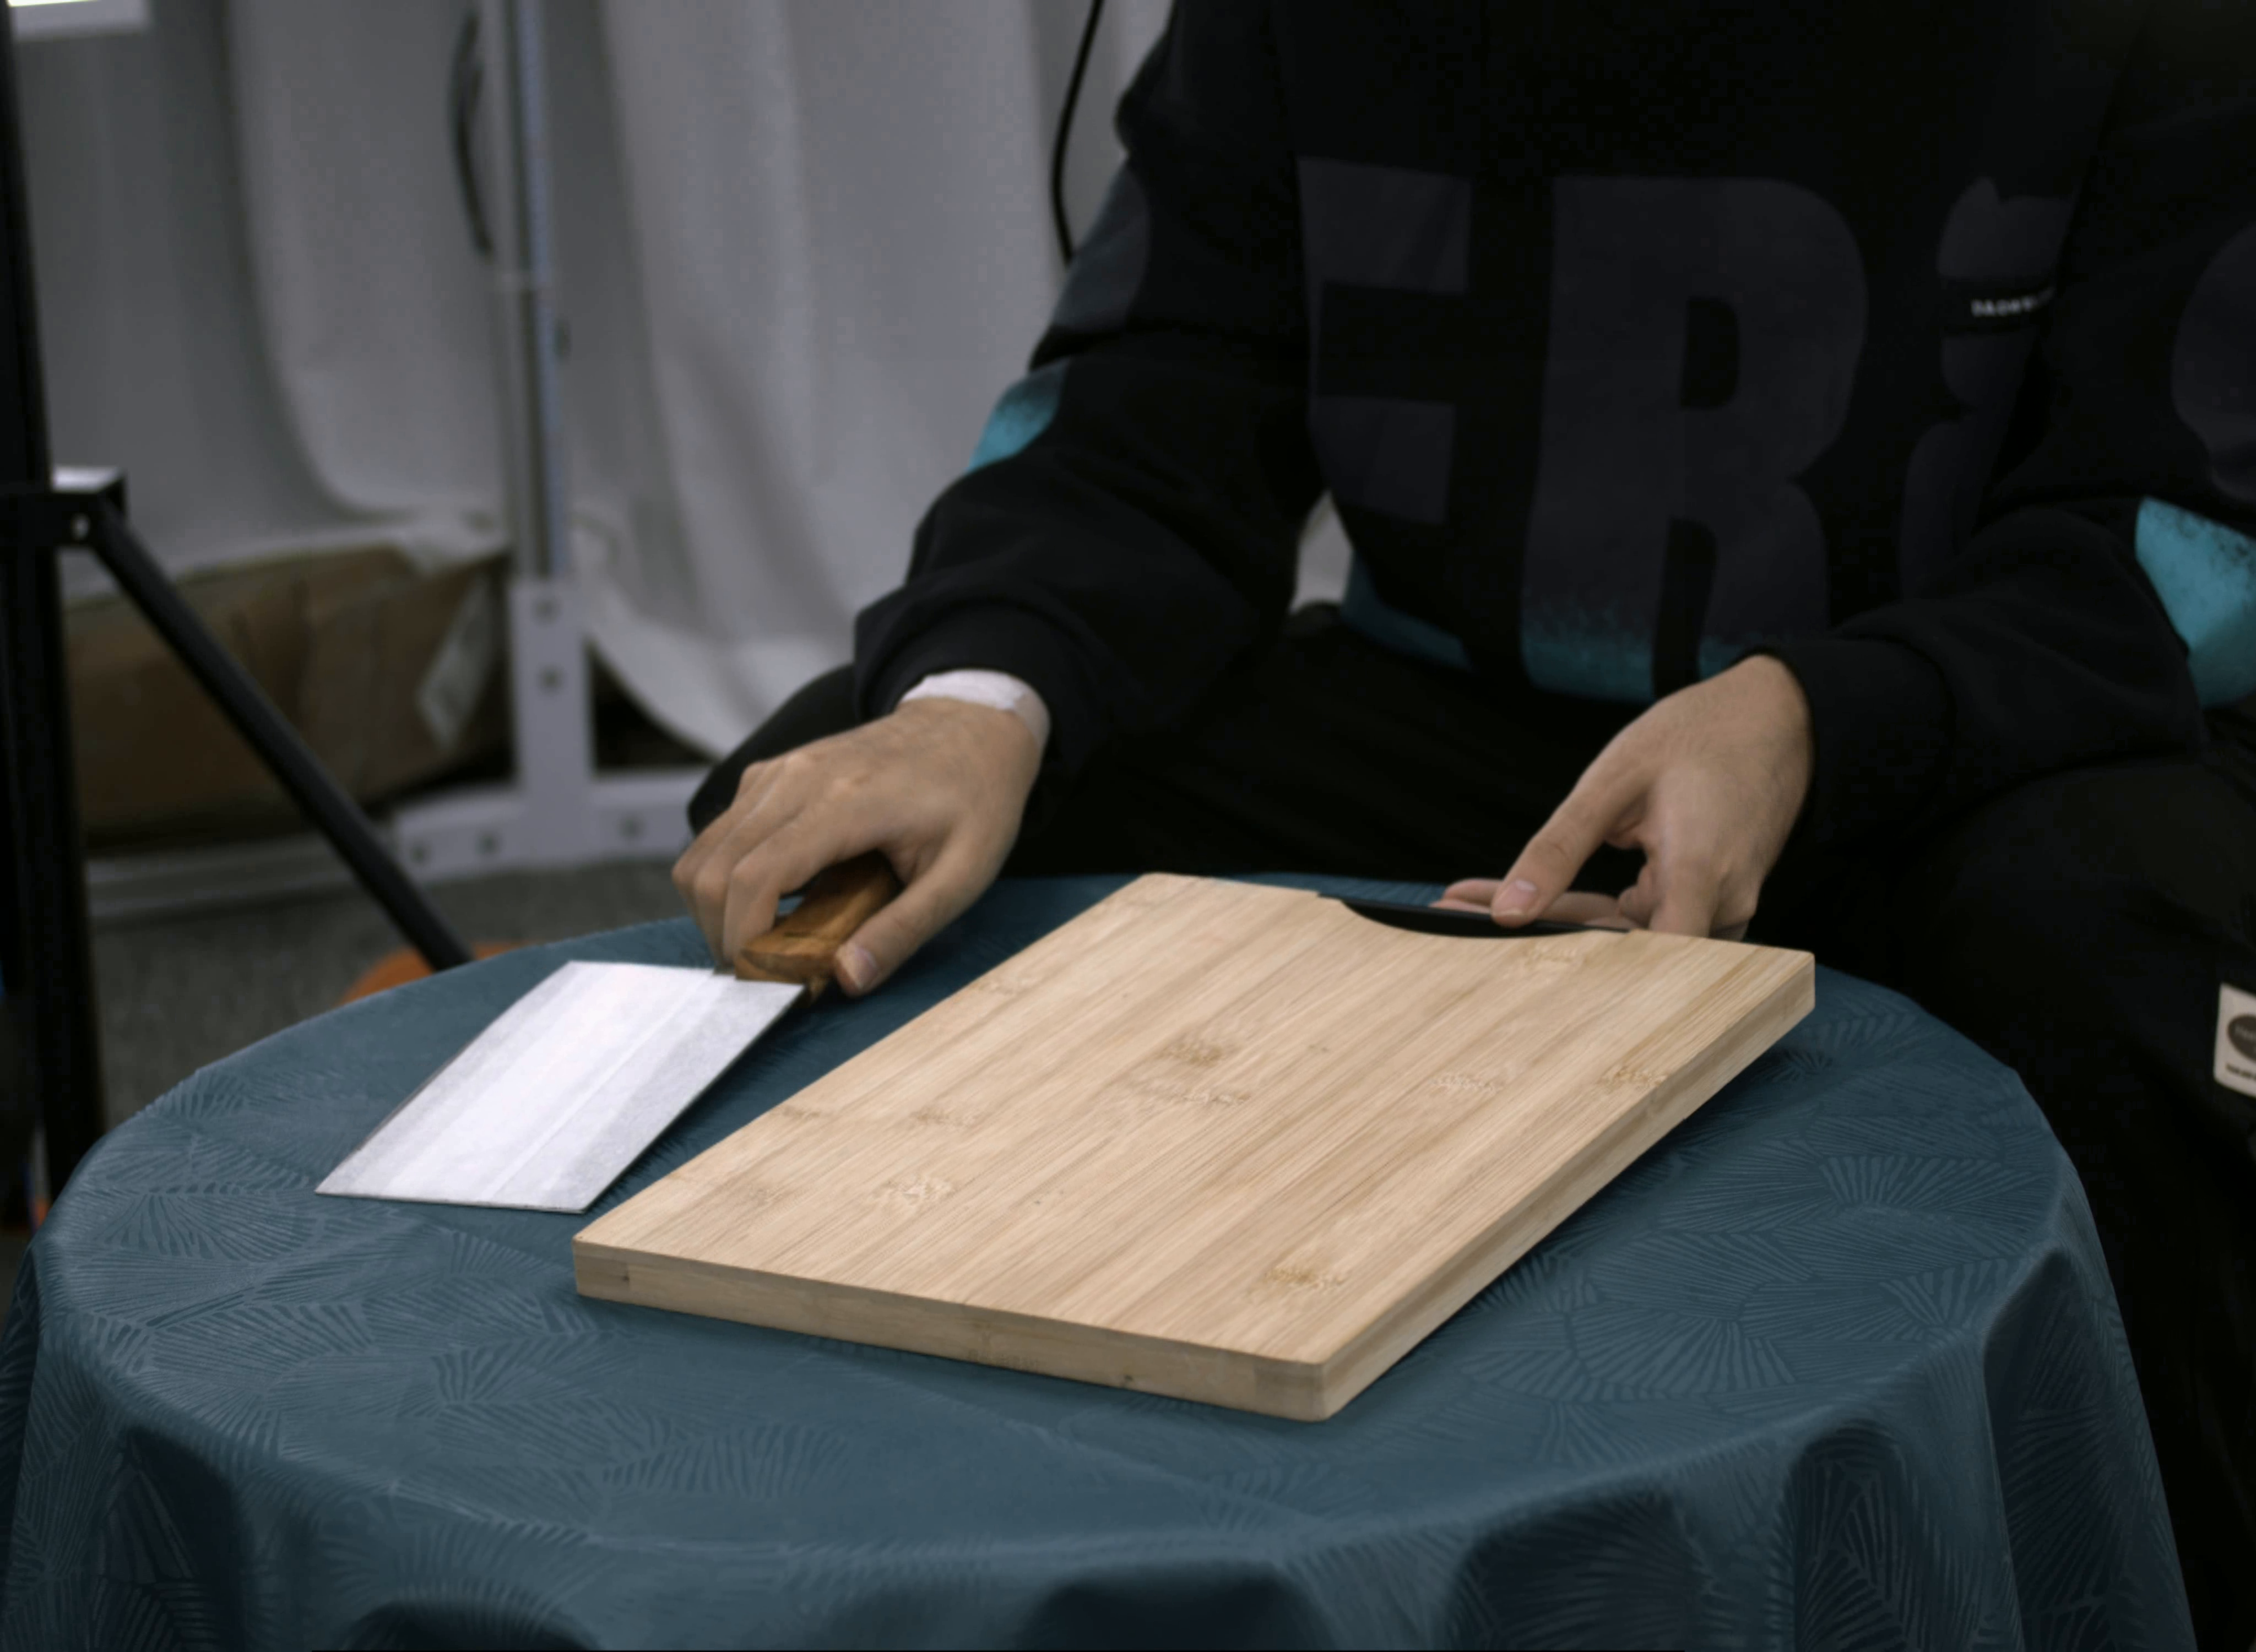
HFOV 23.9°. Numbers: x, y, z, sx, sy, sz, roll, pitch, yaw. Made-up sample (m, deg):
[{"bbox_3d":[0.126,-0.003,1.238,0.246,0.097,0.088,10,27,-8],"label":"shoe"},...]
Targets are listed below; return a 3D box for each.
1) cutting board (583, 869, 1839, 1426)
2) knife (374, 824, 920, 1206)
[{"bbox_3d":[0.033,0.085,1.576,0.255,0.023,0.343,6,21,29],"label":"cutting board"},{"bbox_3d":[-0.153,0.059,1.711,0.094,0.021,0.303,2,21,19],"label":"knife"}]
